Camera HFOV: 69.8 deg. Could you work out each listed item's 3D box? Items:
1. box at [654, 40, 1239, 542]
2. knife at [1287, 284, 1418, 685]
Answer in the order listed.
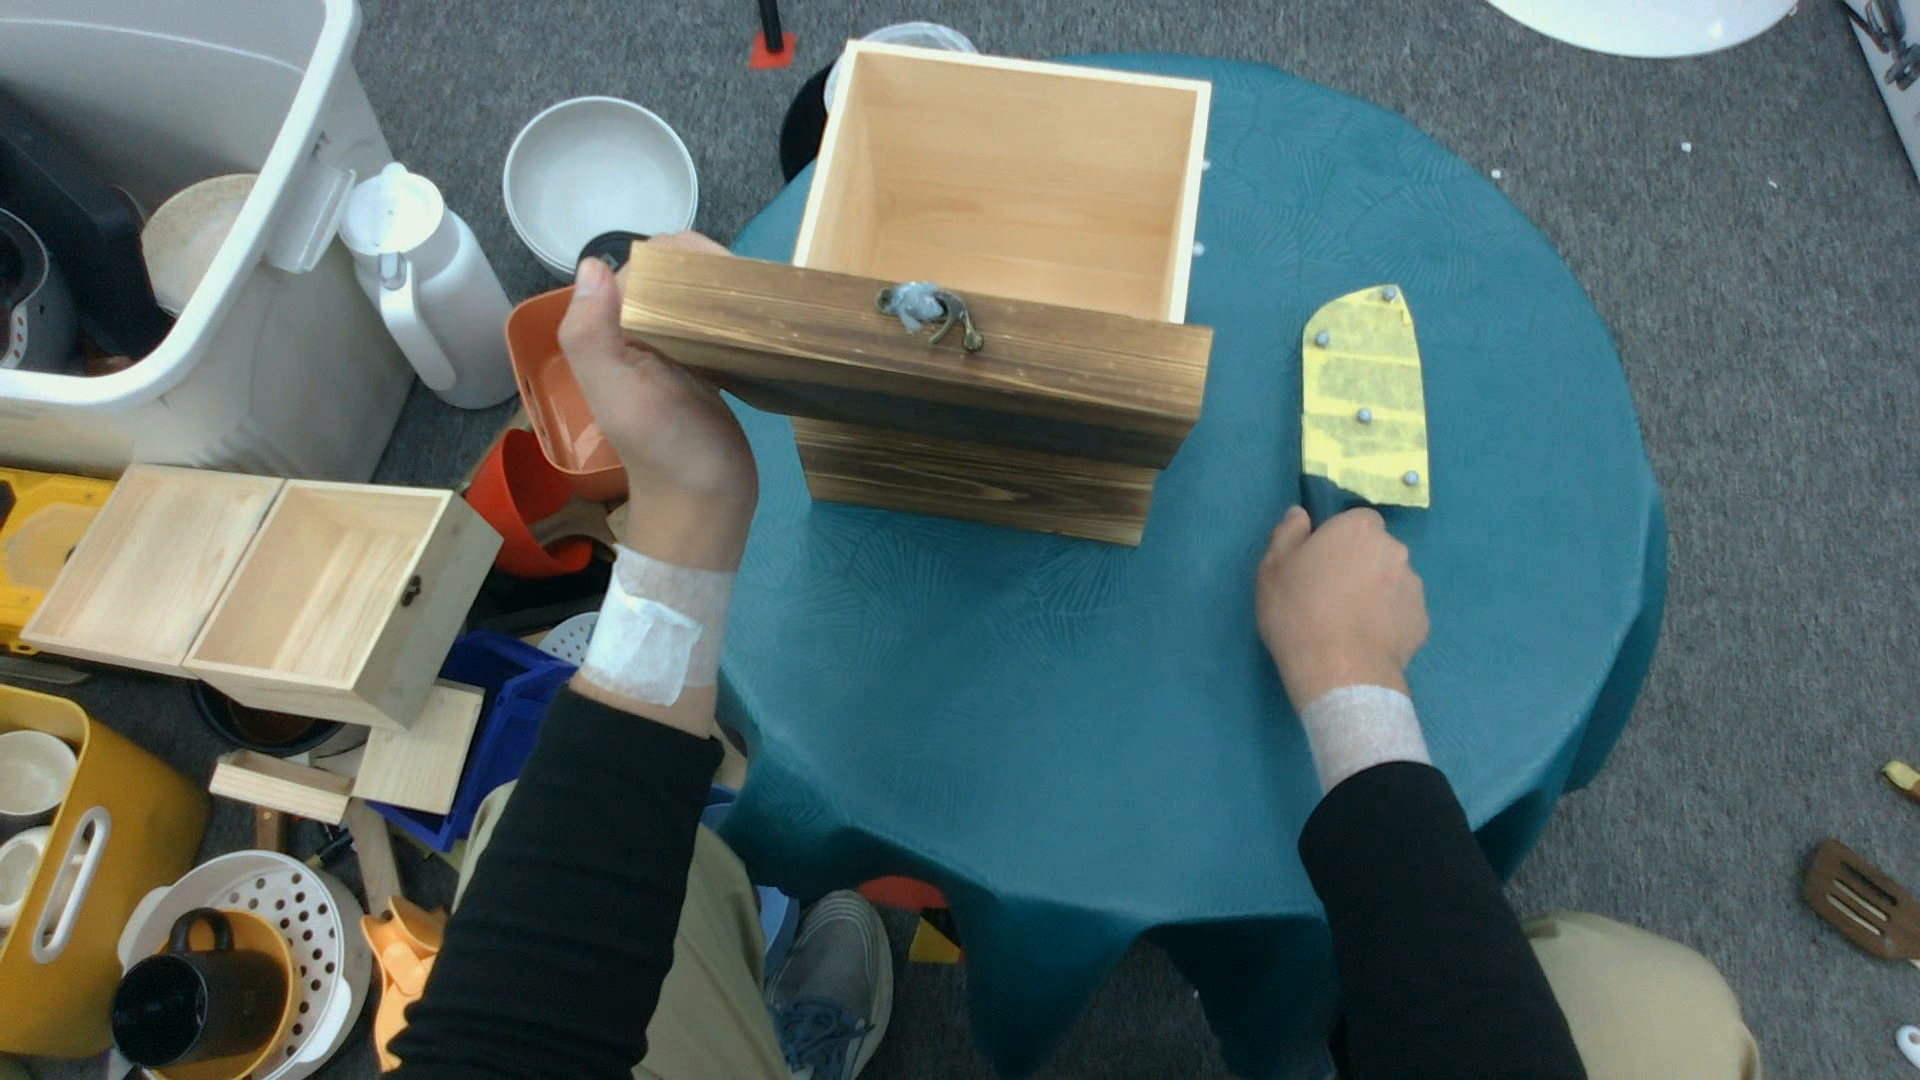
[{"bbox_3d":[0.012,-0.131,0.682,0.209,0.374,0.323,9,66,3],"label":"box"},{"bbox_3d":[0.230,-0.044,0.816,0.081,0.027,0.291,7,59,10],"label":"knife"}]
